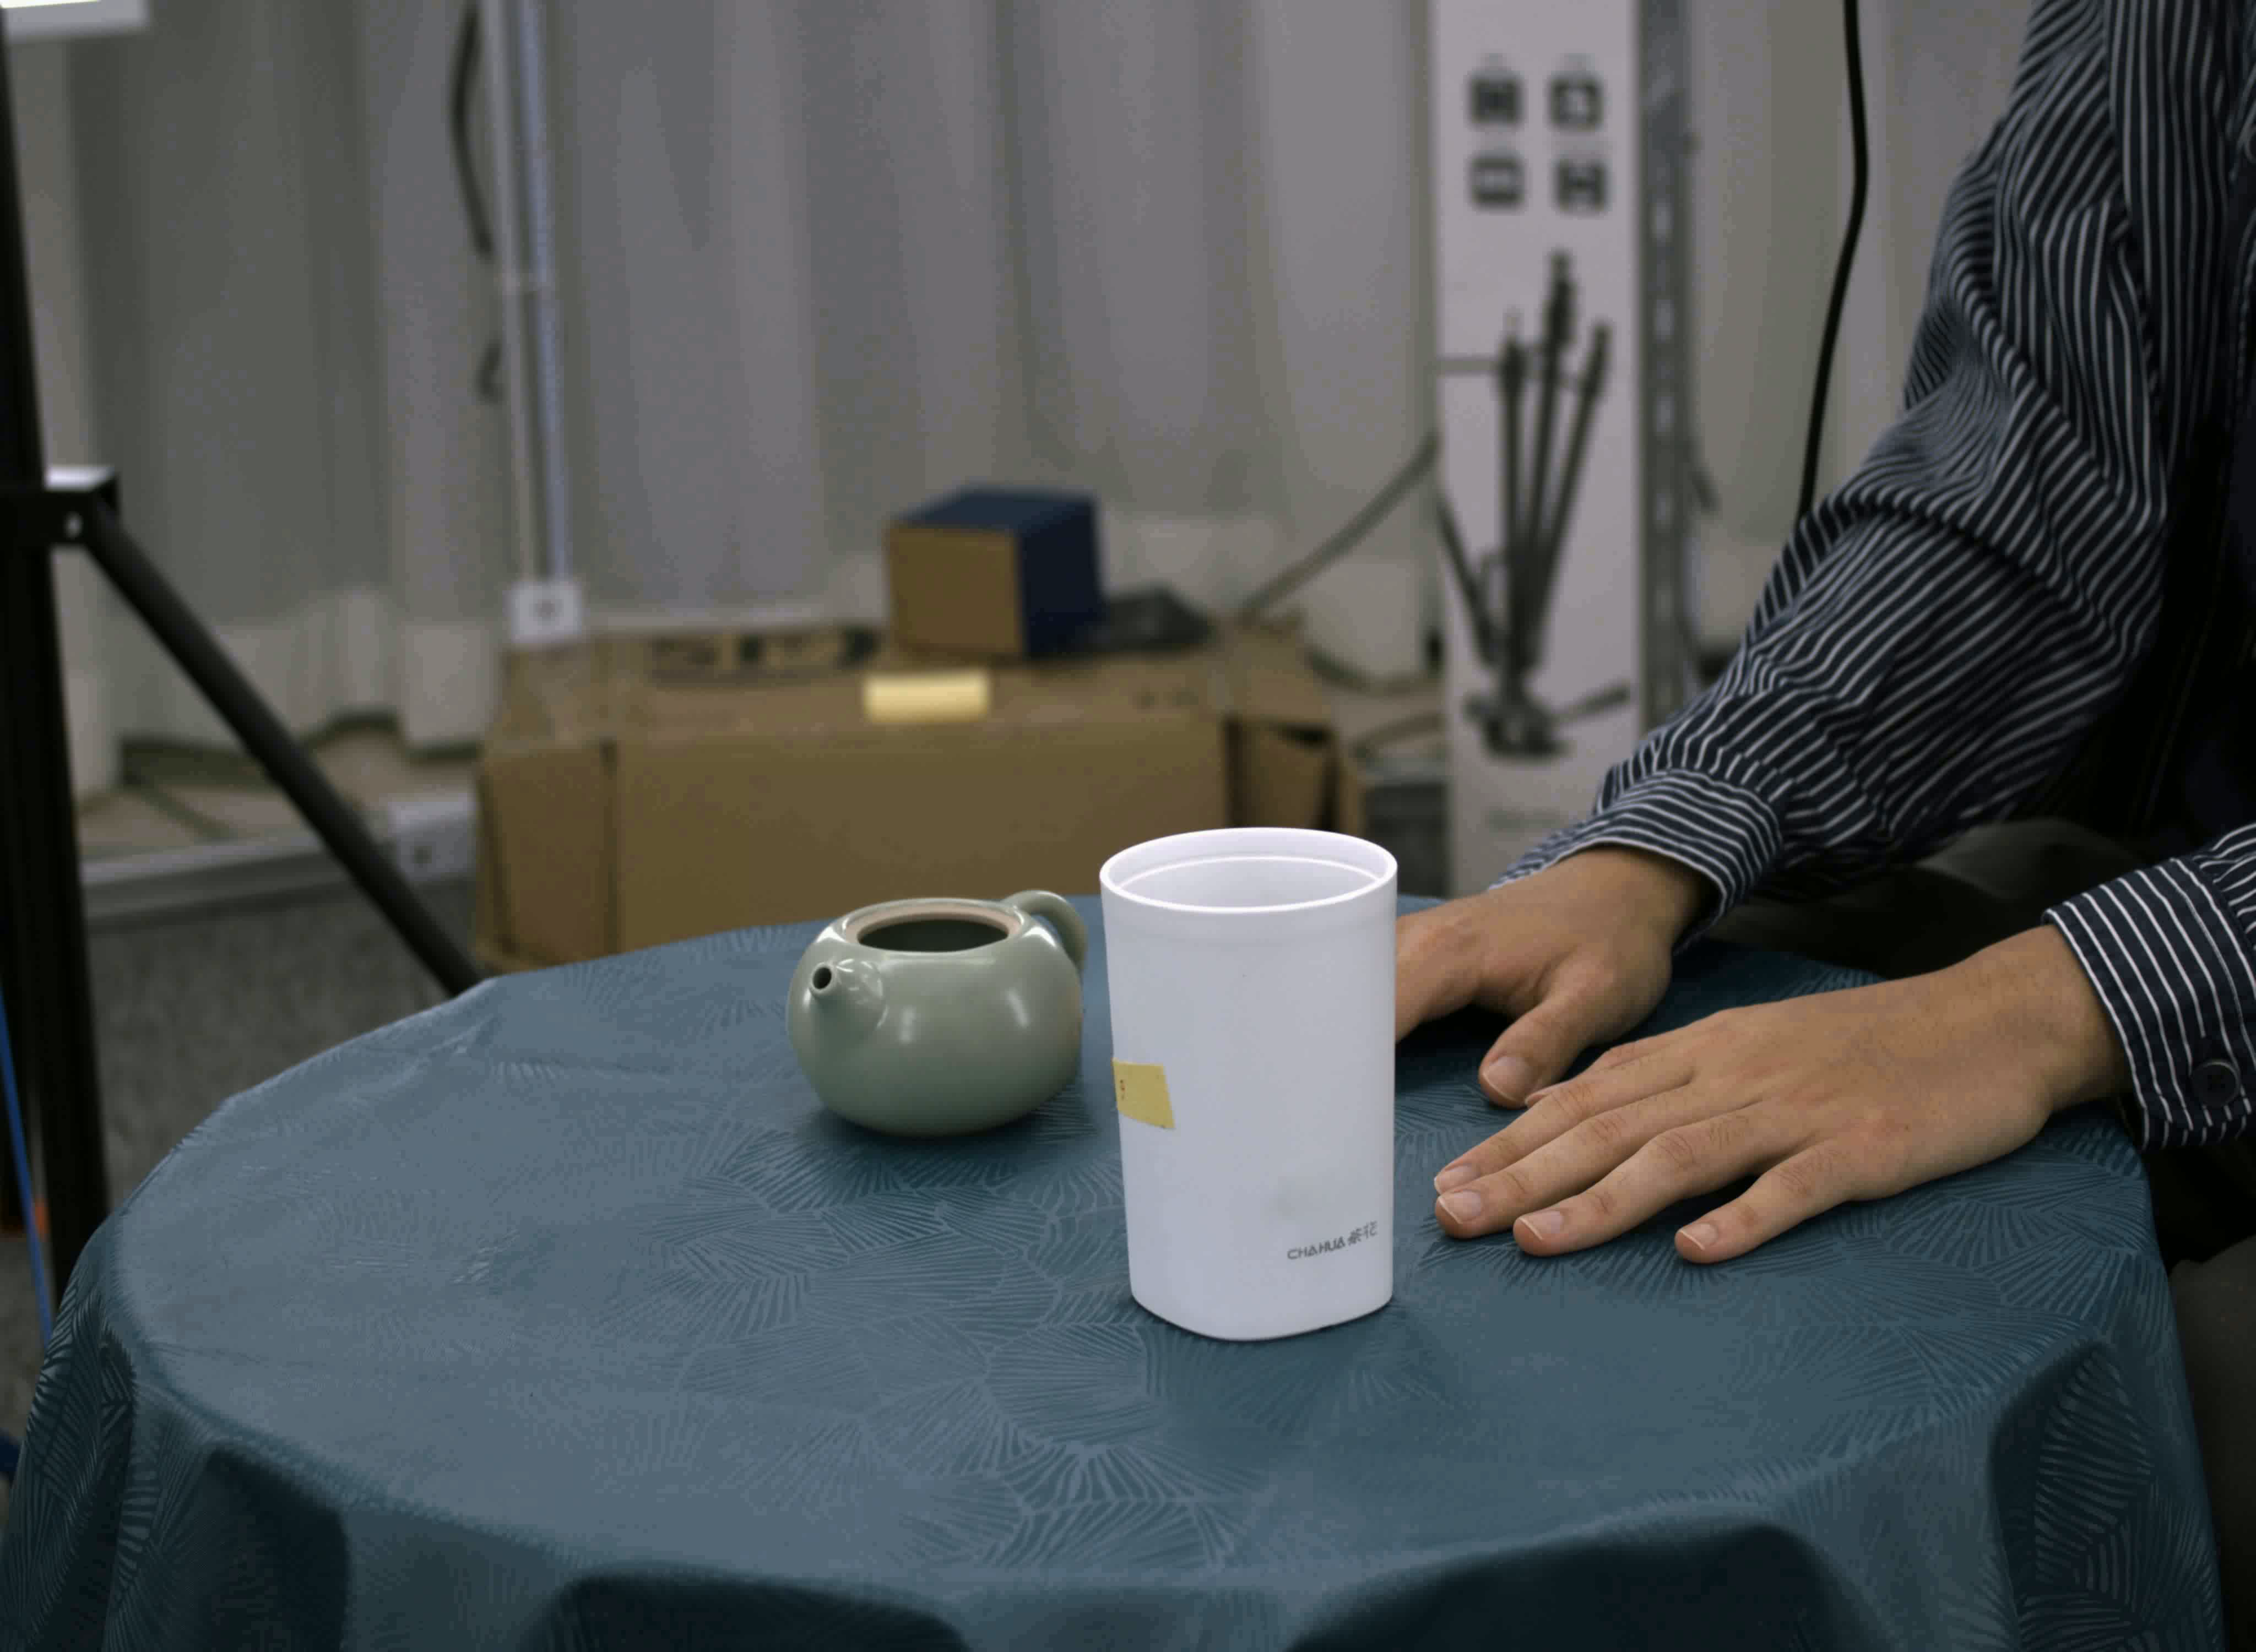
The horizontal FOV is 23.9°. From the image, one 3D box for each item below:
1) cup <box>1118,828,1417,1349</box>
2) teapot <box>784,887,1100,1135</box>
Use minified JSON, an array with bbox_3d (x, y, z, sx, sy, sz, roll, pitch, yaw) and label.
[{"bbox_3d":[0.040,0.072,1.446,0.081,0.125,0.082,-2,15,-1],"label":"cup"},{"bbox_3d":[-0.054,0.056,1.644,0.093,0.061,0.125,10,20,43],"label":"teapot"}]
